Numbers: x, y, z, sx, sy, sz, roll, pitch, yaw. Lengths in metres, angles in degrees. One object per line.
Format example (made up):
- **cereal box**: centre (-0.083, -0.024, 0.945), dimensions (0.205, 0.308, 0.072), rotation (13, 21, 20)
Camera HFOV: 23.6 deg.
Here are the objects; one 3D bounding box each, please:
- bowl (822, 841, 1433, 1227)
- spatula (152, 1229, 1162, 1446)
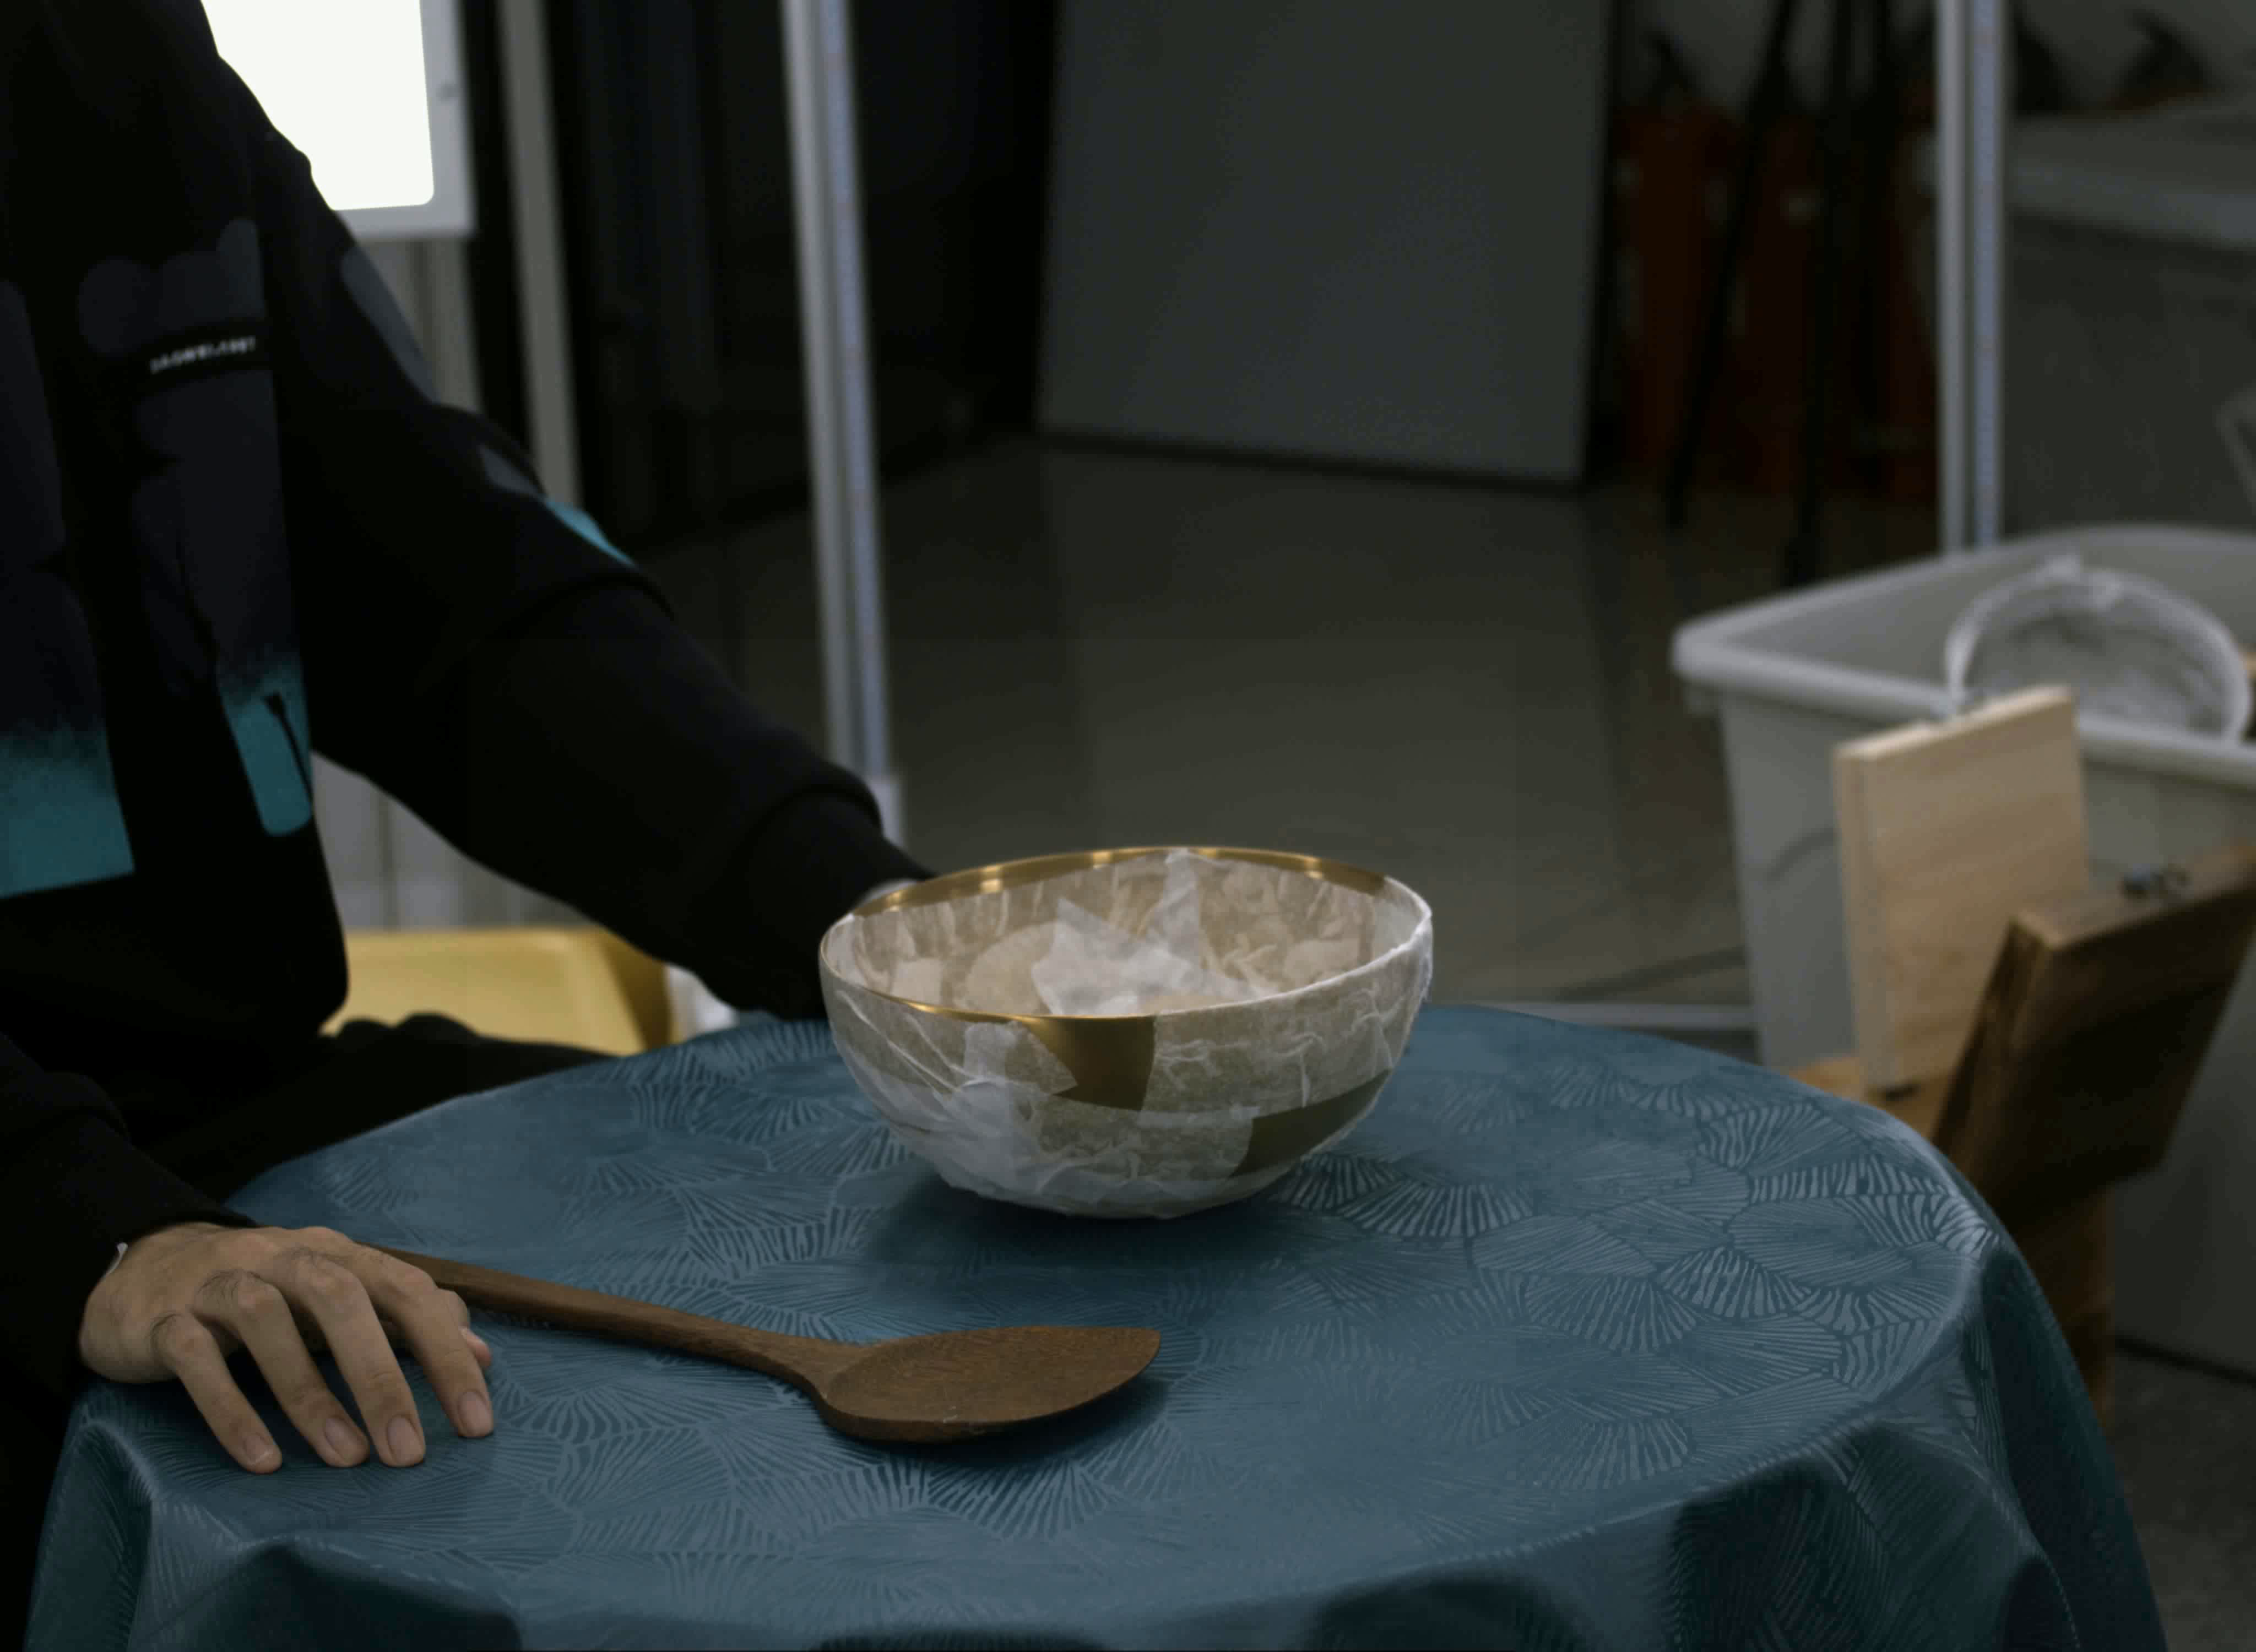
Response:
- **bowl**: centre (0.001, 0.075, 1.765), dimensions (0.212, 0.095, 0.215), rotation (-6, 14, 1)
- **spatula**: centre (-0.161, 0.152, 1.665), dimensions (0.388, 0.016, 0.094), rotation (6, 16, 36)
